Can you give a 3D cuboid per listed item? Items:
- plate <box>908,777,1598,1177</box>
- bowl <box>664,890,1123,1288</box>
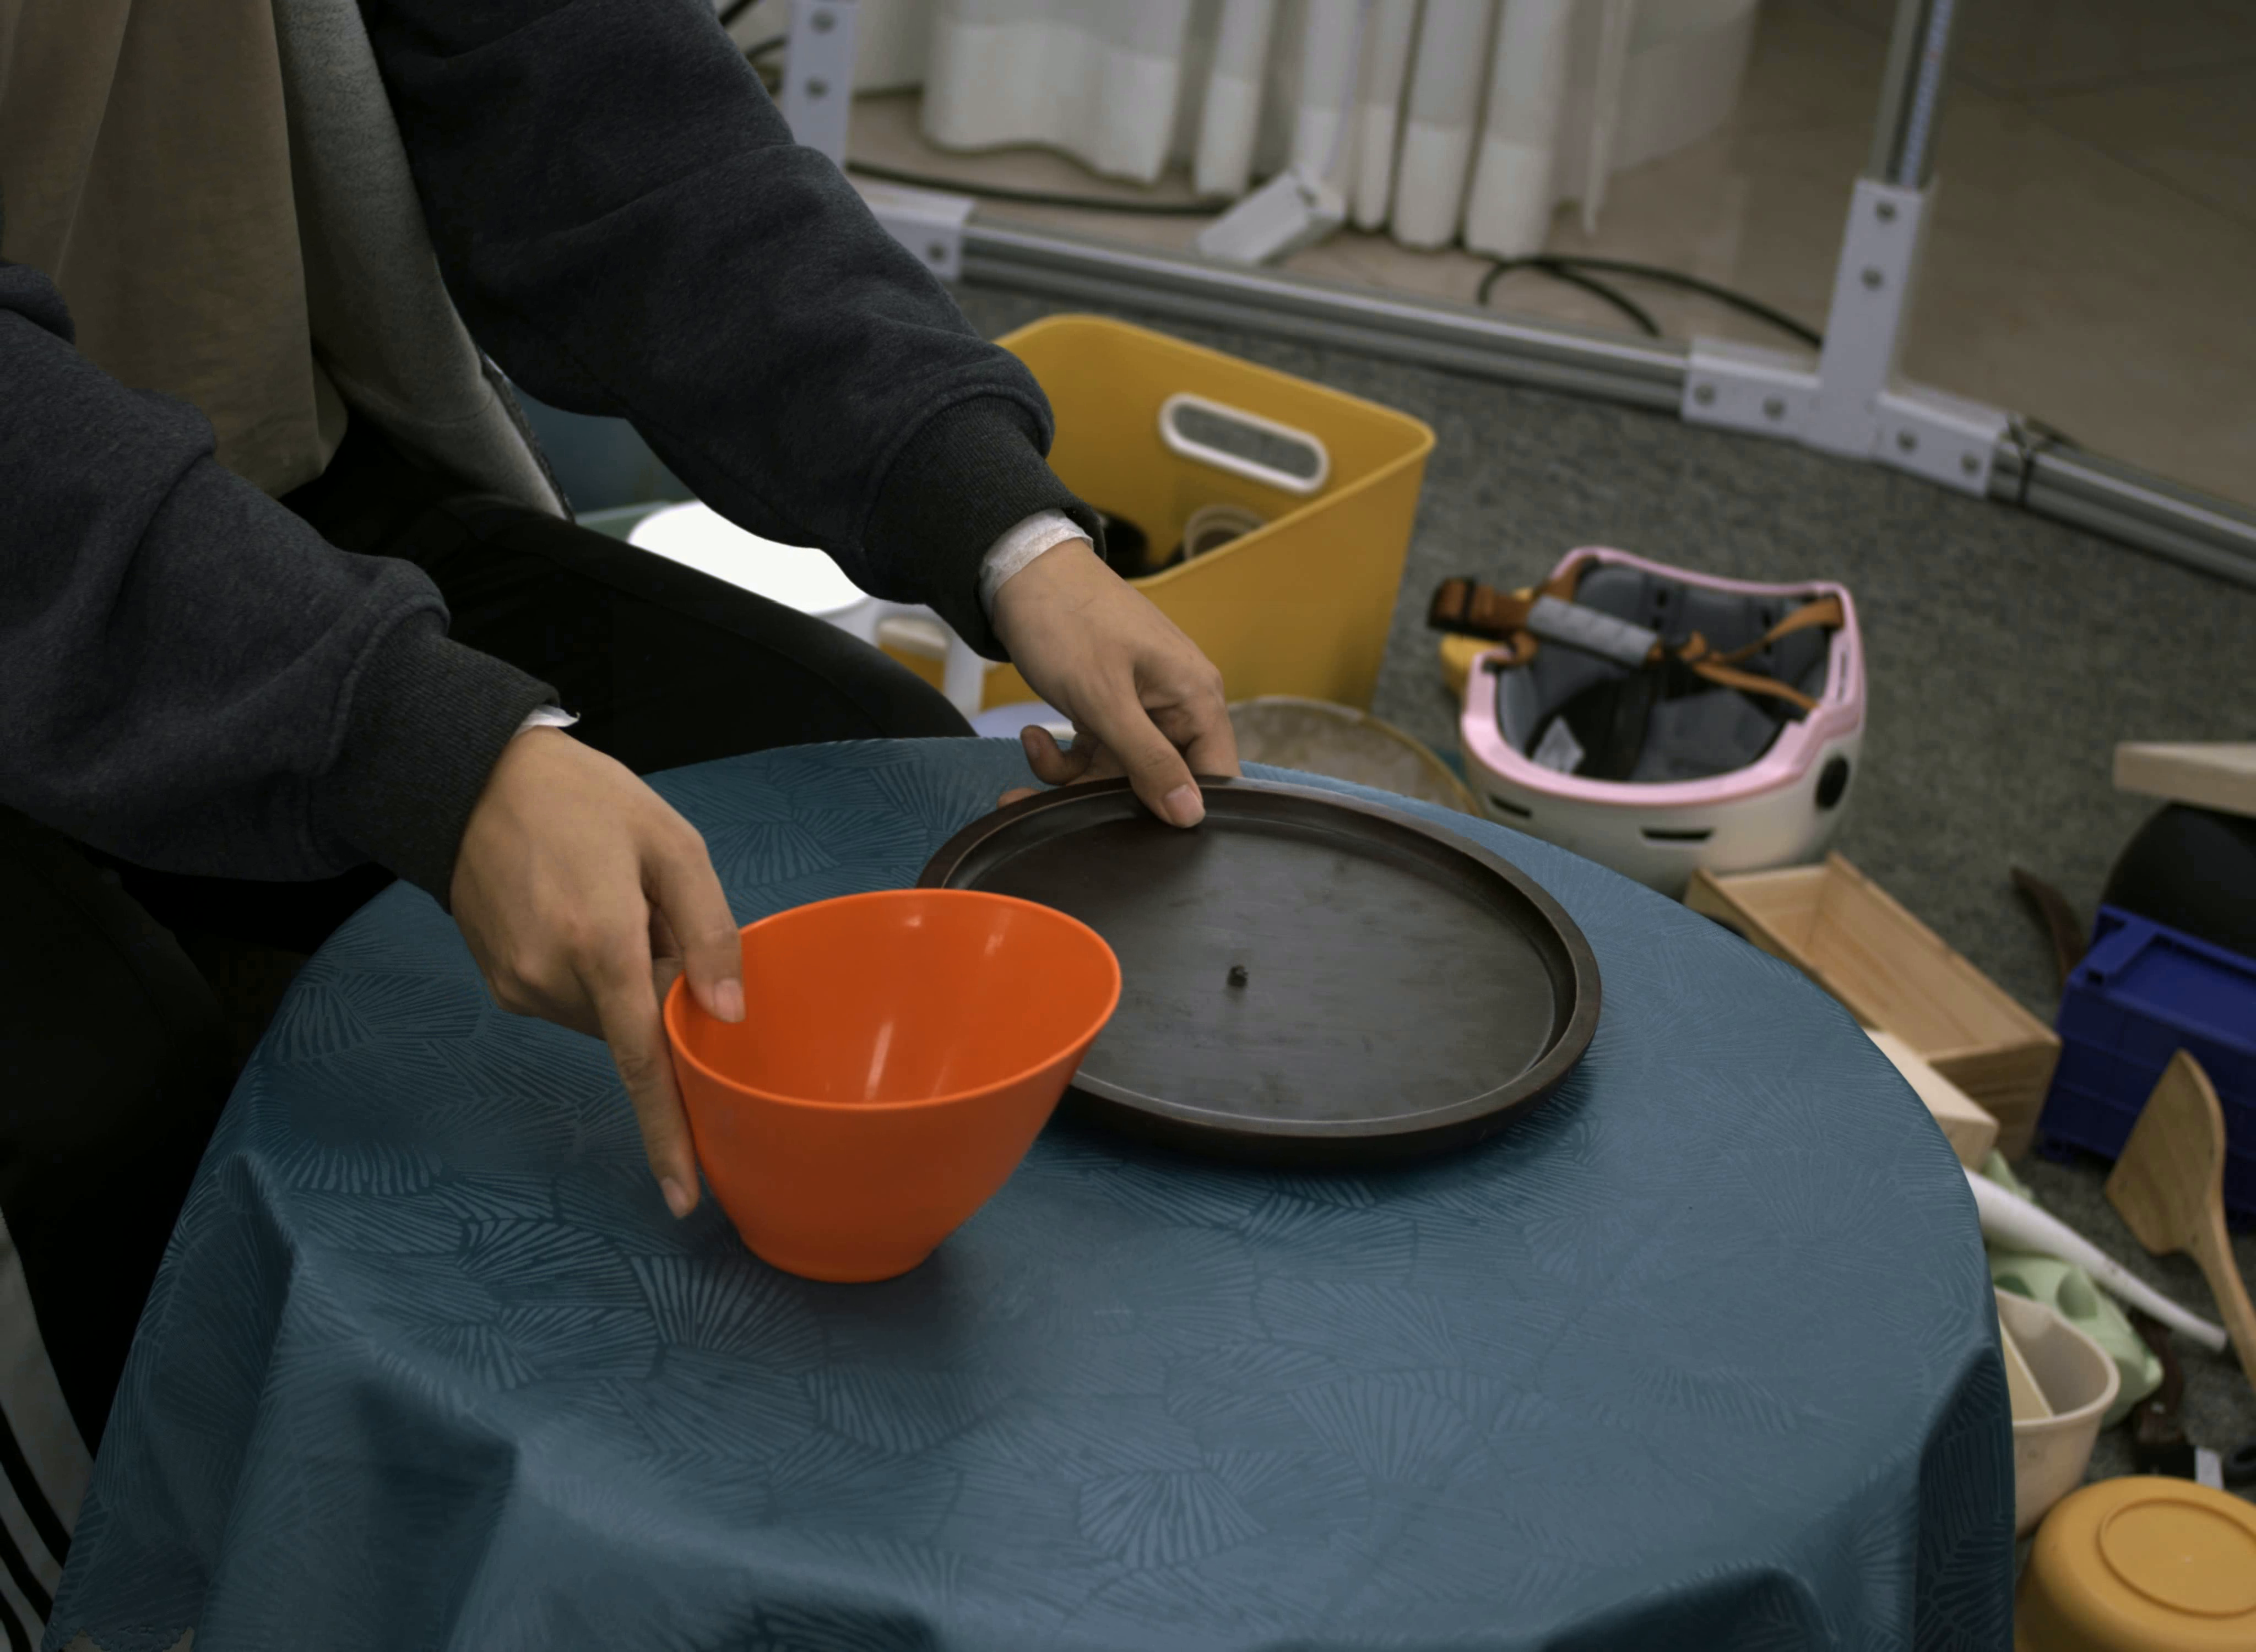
[{"bbox_3d":[0.044,0.052,1.919,0.254,0.029,0.256,5,30,-3],"label":"plate"},{"bbox_3d":[-0.080,0.091,1.736,0.147,0.104,0.149,5,28,-3],"label":"bowl"}]
